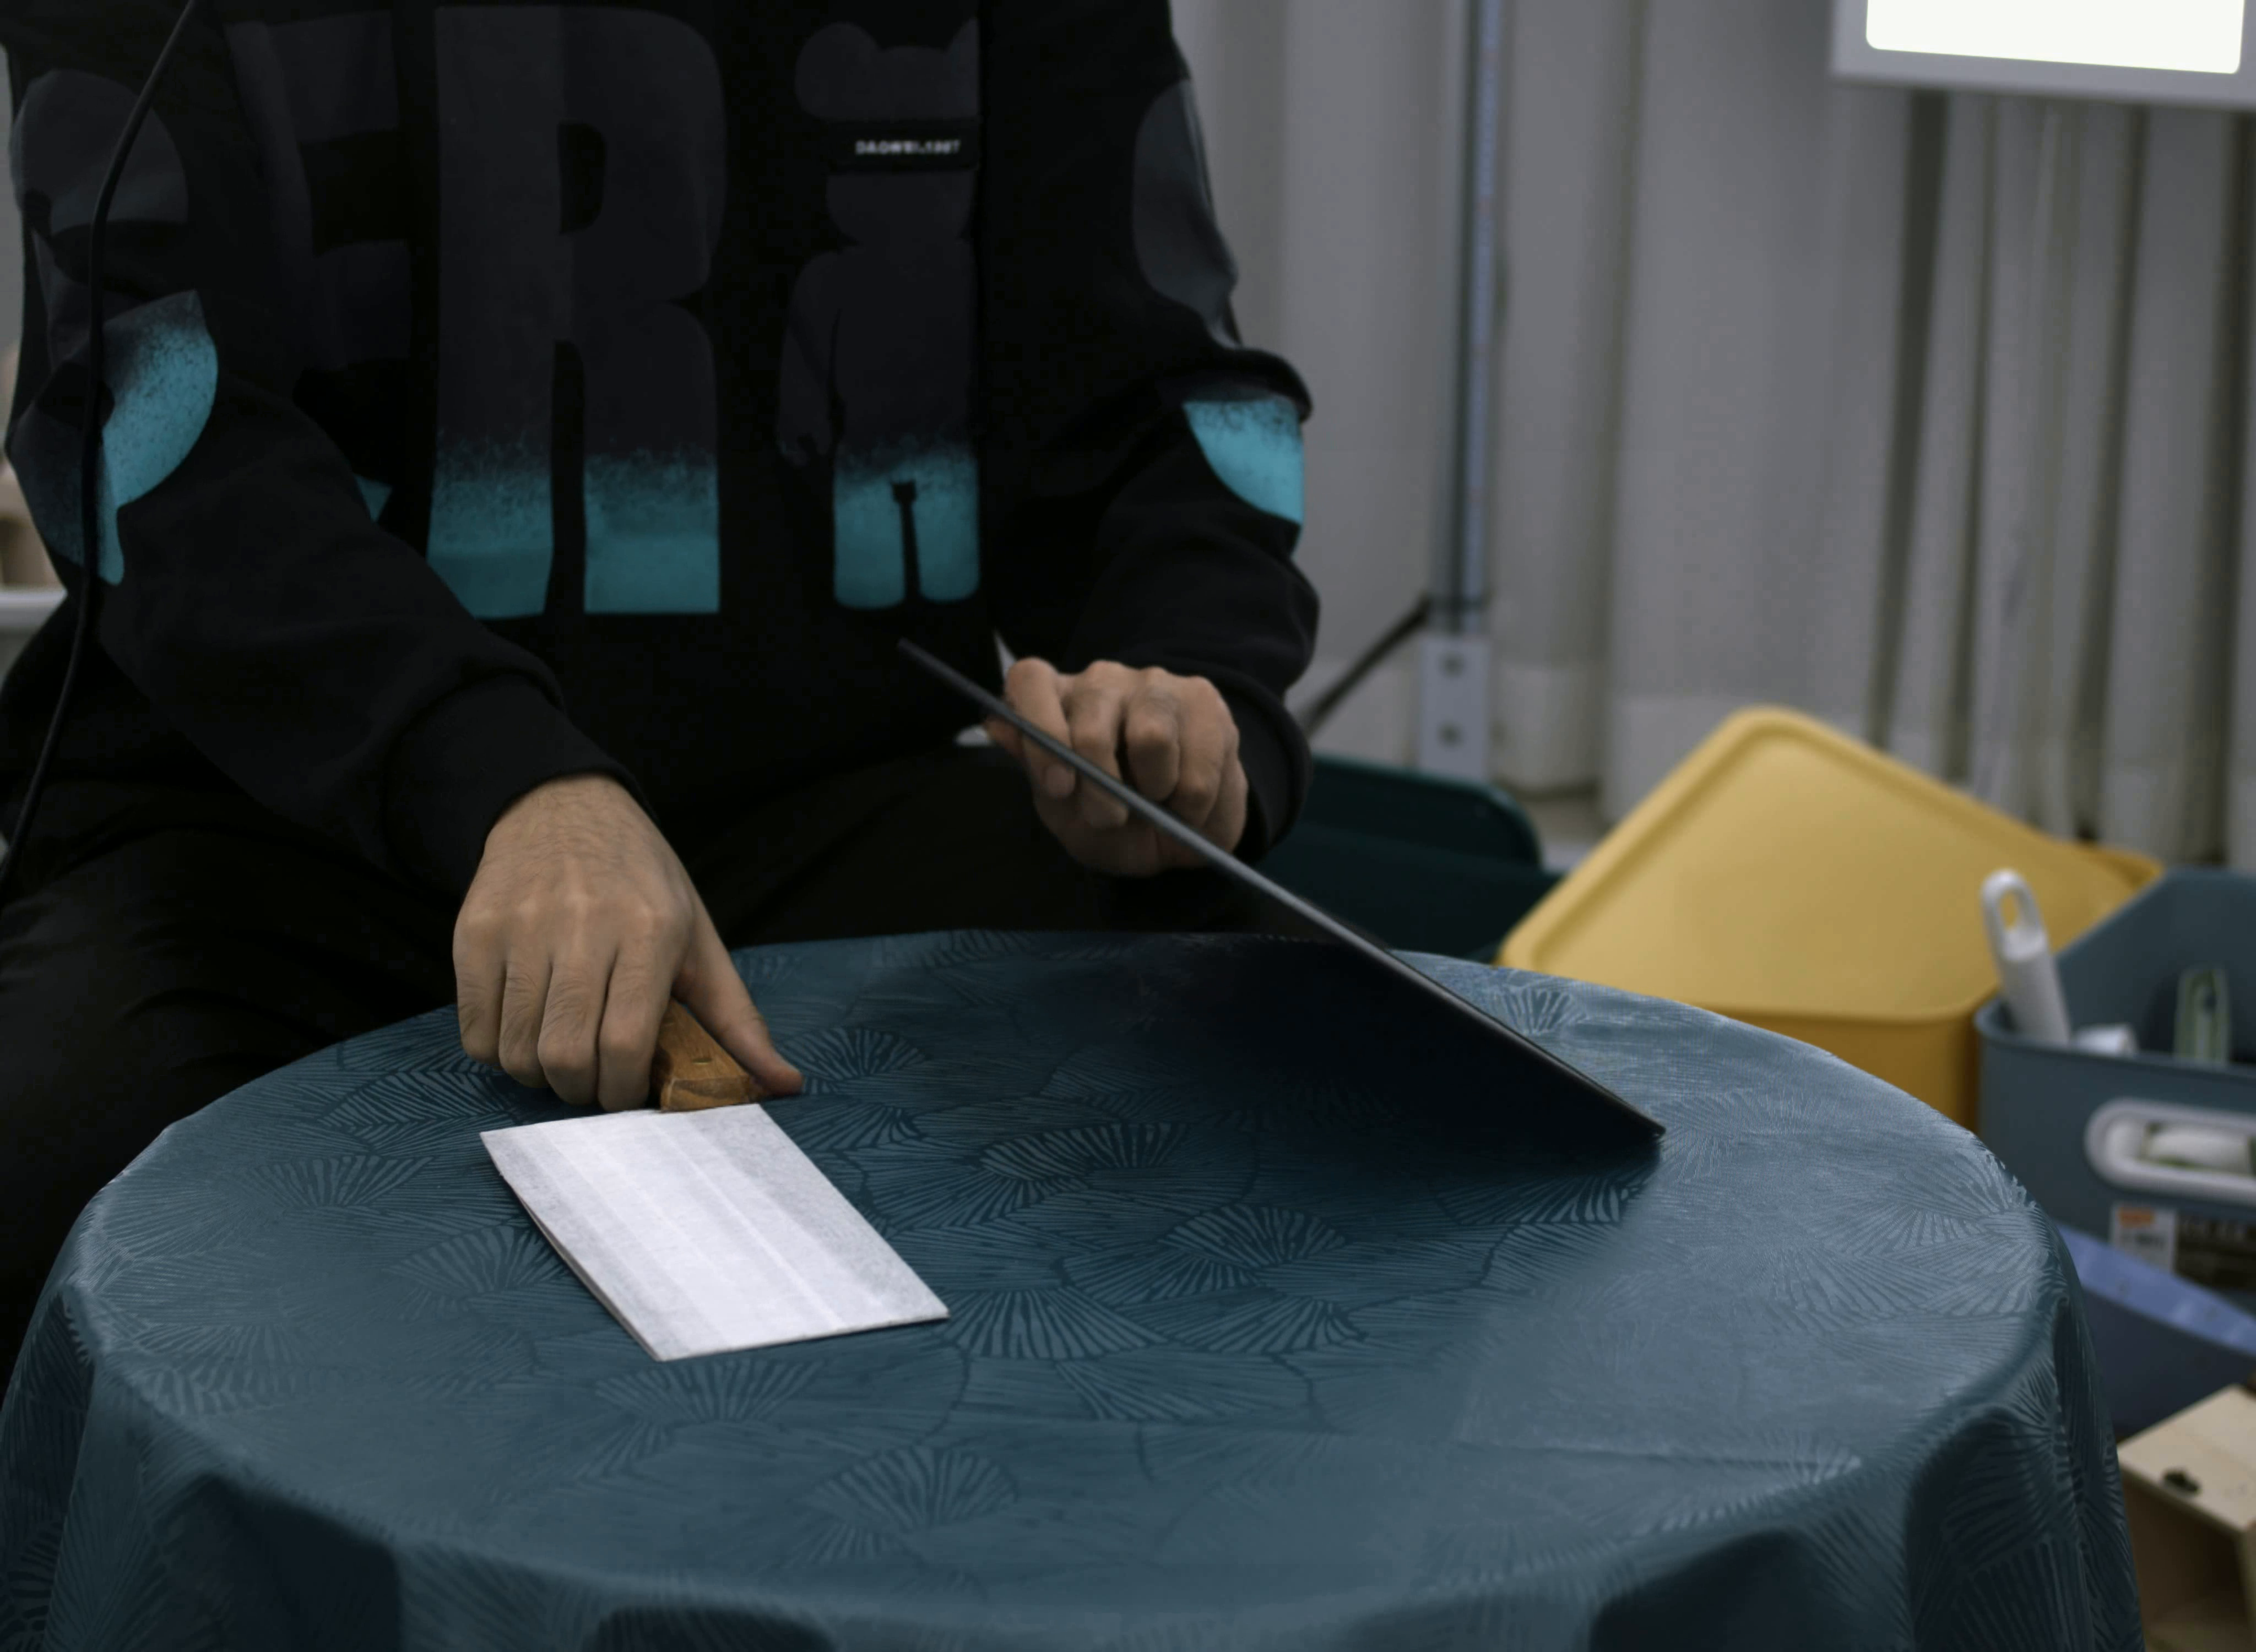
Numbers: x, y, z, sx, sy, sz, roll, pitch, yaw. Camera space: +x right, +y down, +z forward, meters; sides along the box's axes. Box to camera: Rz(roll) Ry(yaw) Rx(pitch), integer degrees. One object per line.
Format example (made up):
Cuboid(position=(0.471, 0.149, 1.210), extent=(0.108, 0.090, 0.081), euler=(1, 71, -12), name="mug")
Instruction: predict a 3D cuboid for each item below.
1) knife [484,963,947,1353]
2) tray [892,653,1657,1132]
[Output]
Cuboid(position=(-0.146, 0.101, 1.629), extent=(0.093, 0.021, 0.302), euler=(-7, 20, -21), name="knife")
Cuboid(position=(0.040, 0.015, 1.742), extent=(0.213, 0.010, 0.321), euler=(30, 2, -27), name="tray")
